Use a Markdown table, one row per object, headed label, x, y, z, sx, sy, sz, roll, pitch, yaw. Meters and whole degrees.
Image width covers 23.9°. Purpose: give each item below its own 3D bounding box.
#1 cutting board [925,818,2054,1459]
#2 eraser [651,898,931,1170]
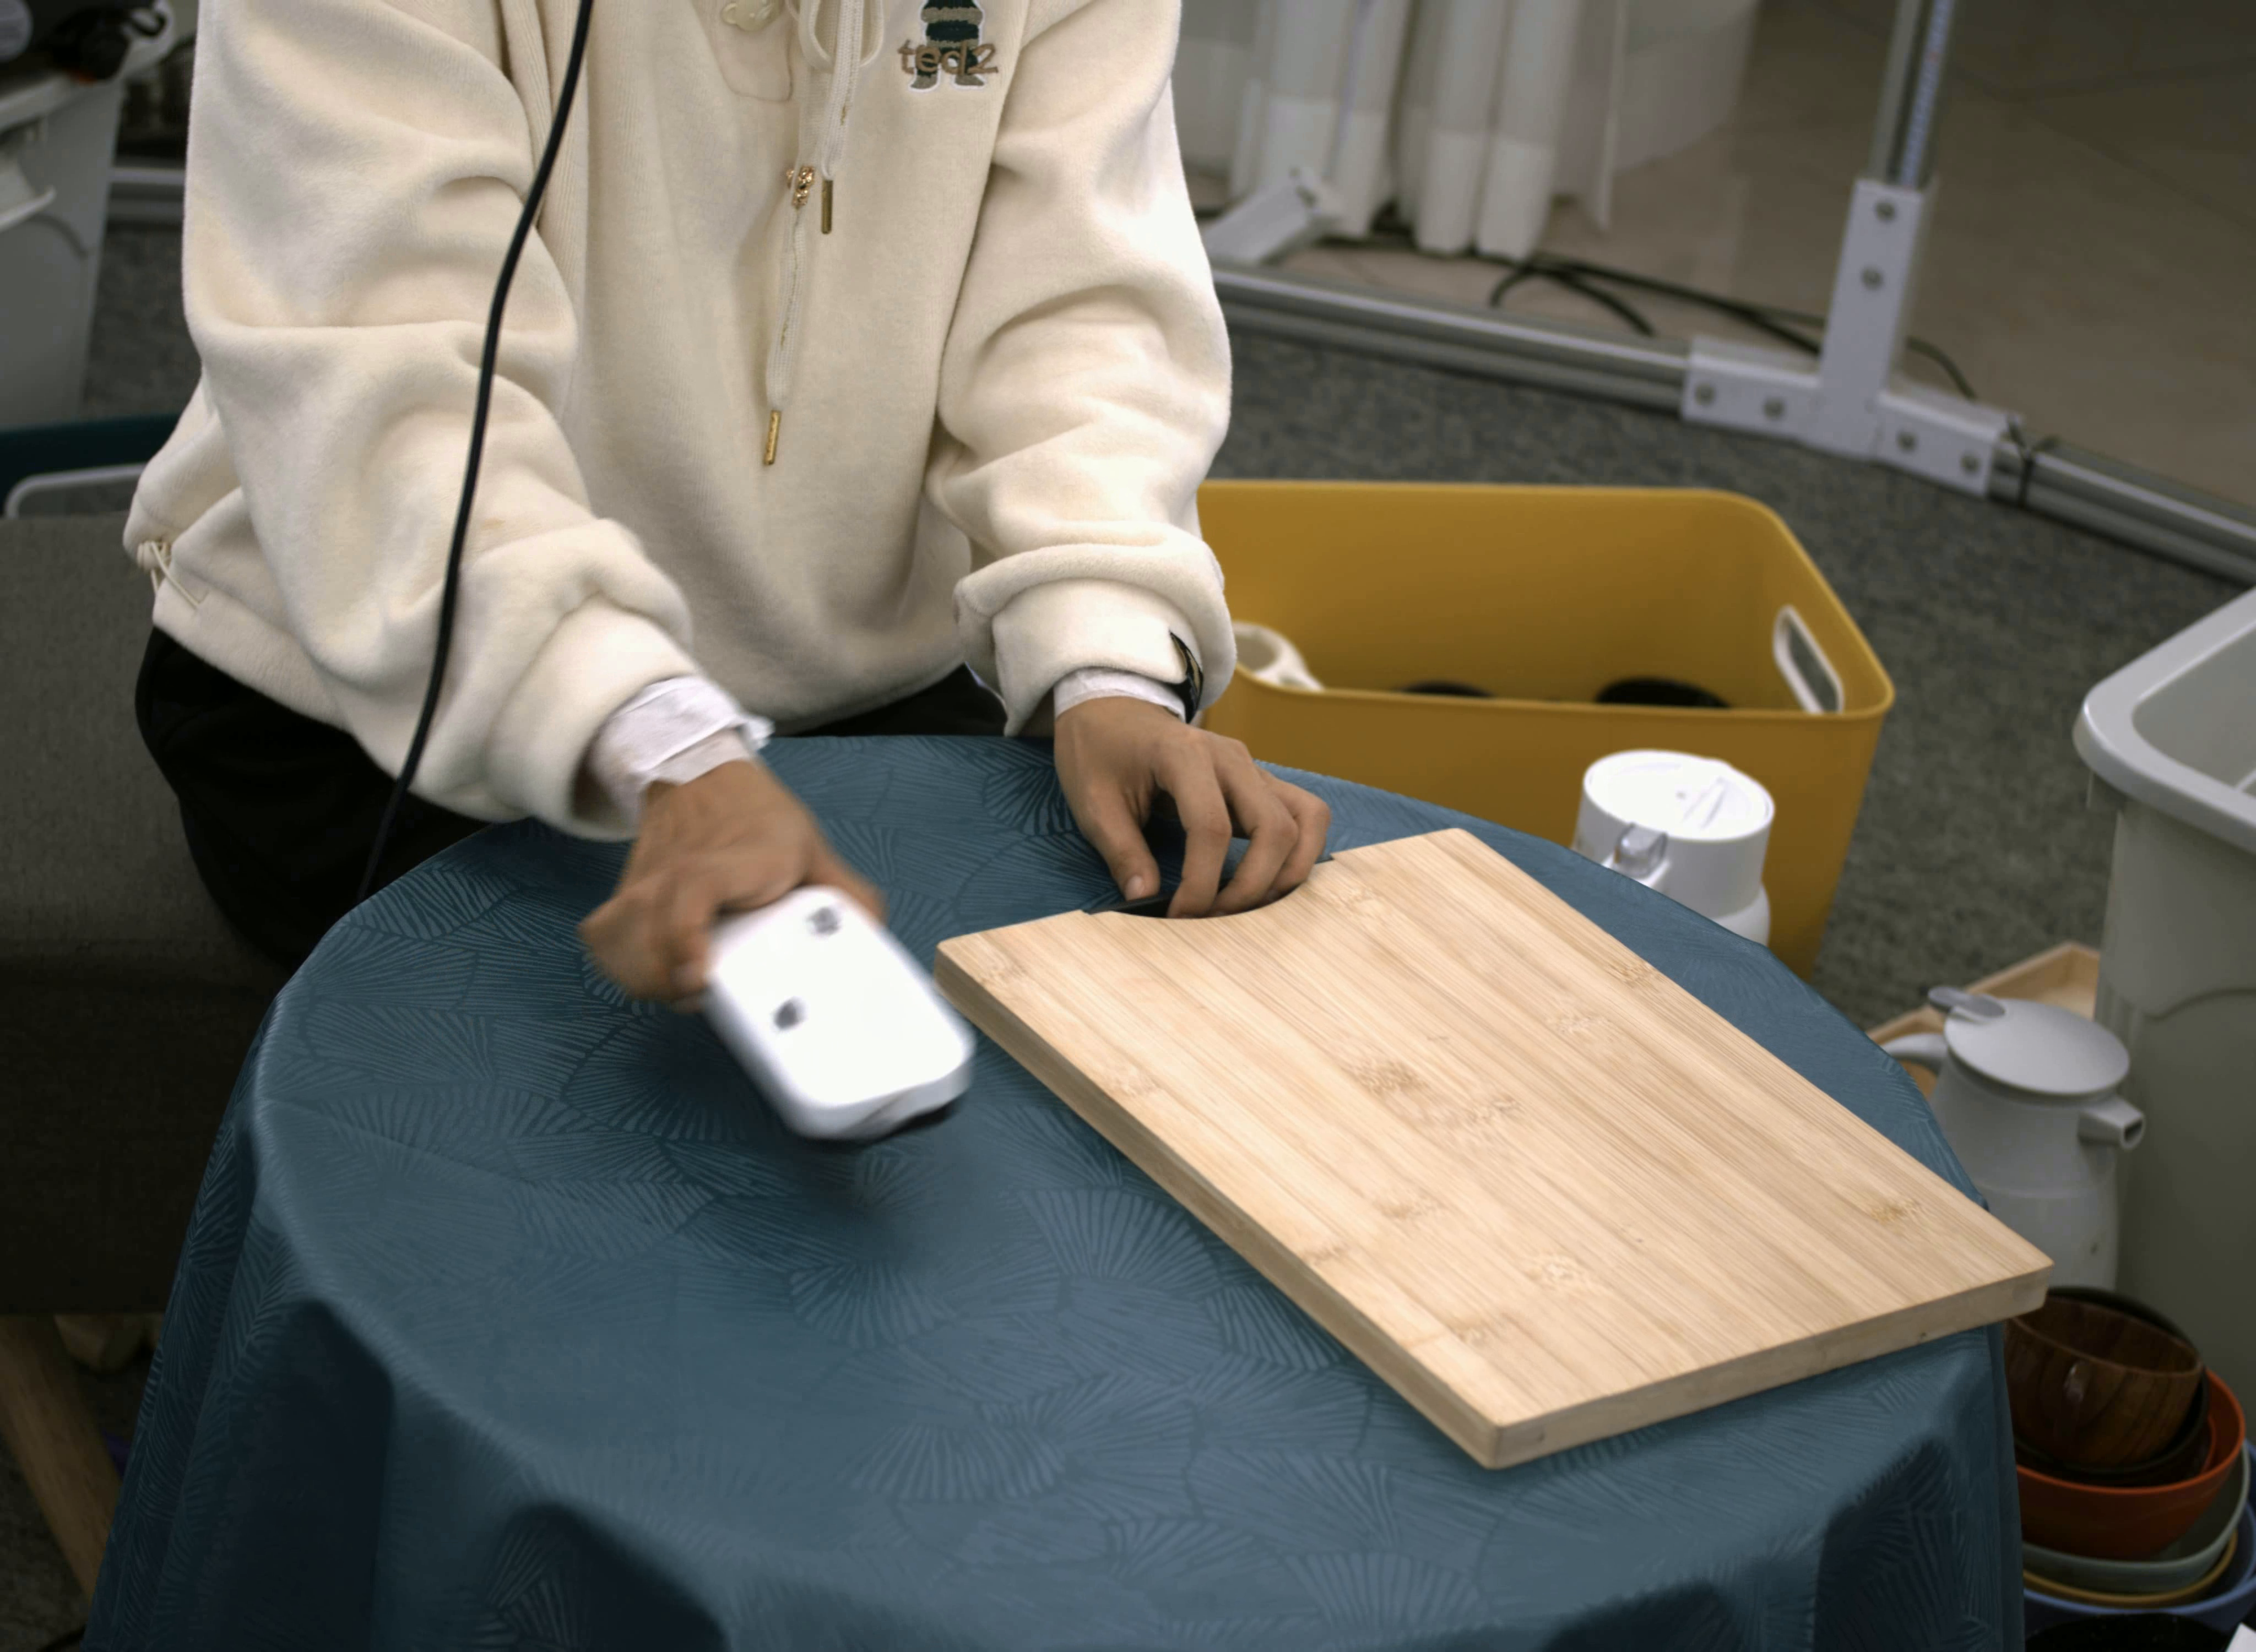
| label | x | y | z | sx | sy | sz | roll | pitch | yaw |
| --- | --- | --- | --- | --- | --- | --- | --- | --- | --- |
| cutting board | 0.119 | 0.101 | 1.856 | 0.249 | 0.023 | 0.352 | -12 | 32 | -32 |
| eraser | -0.113 | 0.066 | 1.791 | 0.063 | 0.034 | 0.132 | -12 | 35 | -20 |
